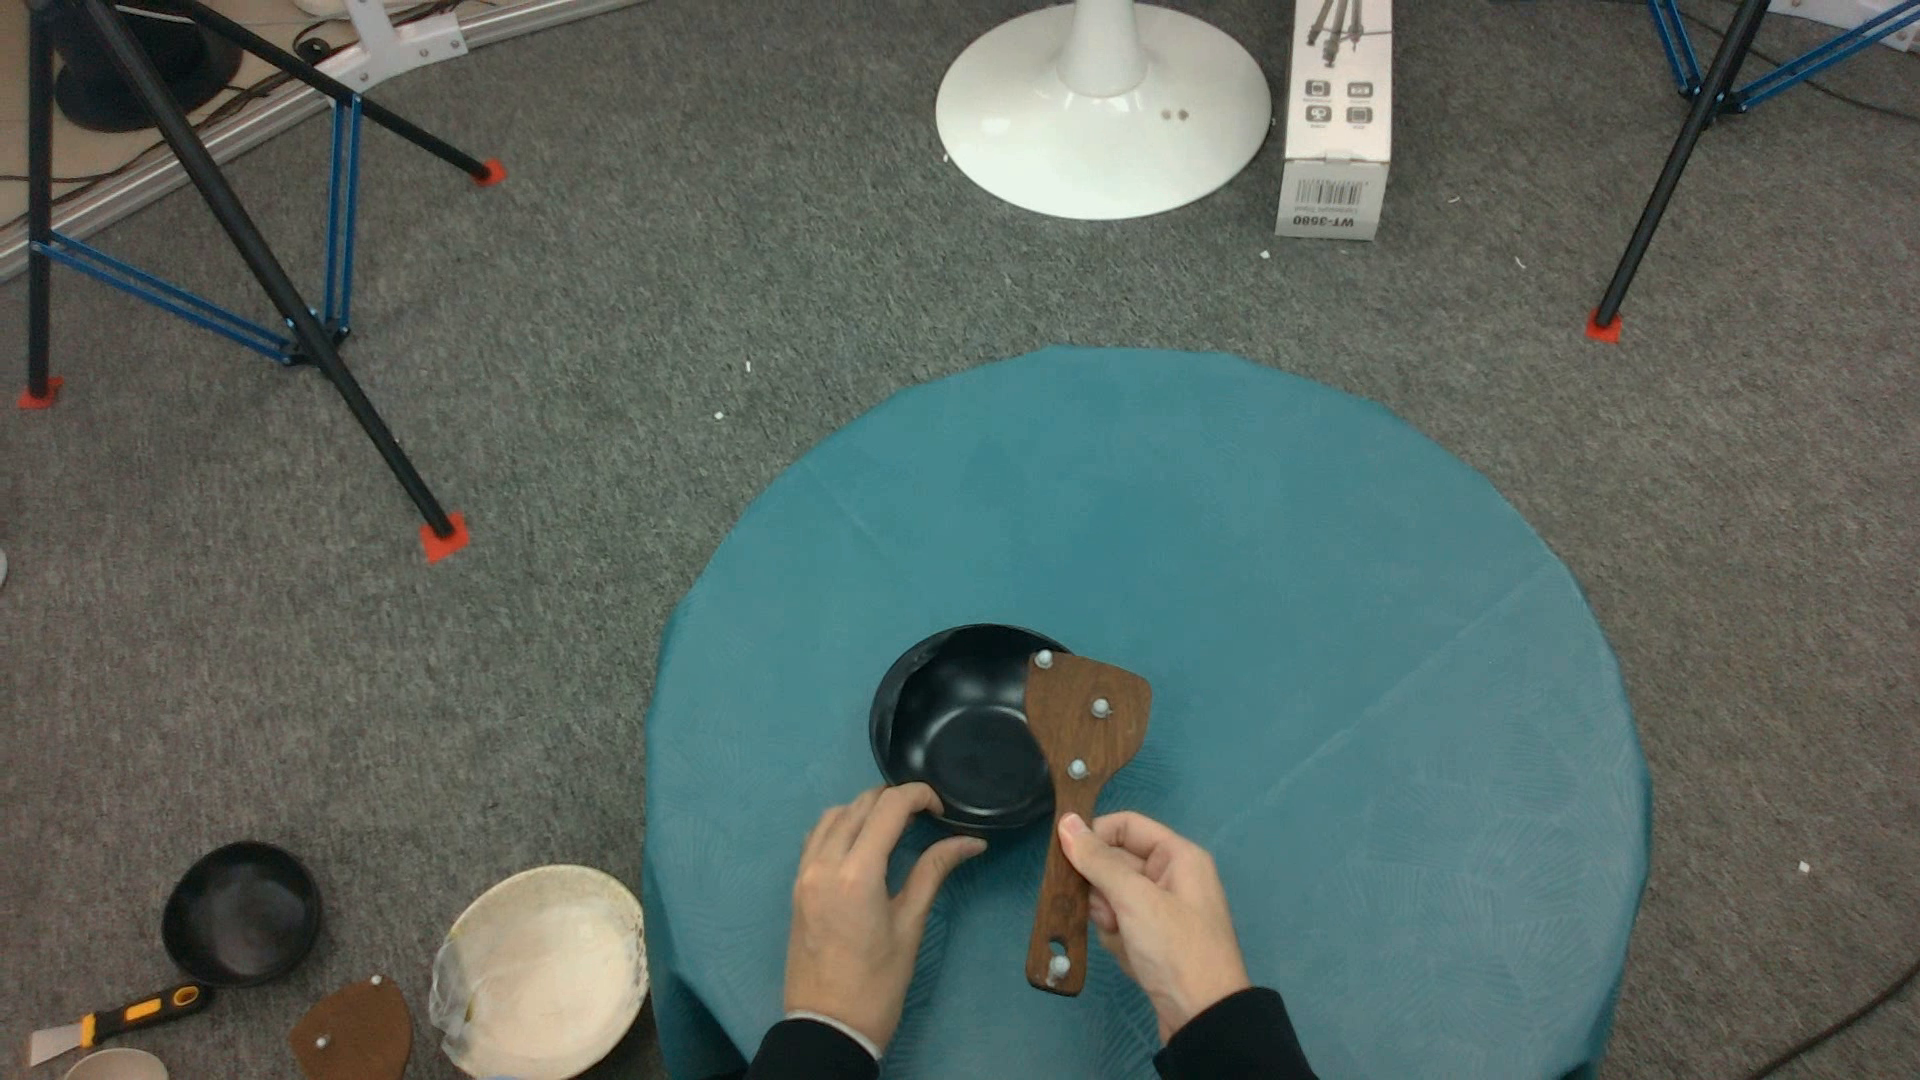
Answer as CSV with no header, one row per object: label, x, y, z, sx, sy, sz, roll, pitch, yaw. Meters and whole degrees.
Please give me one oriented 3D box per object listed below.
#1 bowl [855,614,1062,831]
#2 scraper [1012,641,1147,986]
bowl,0.008,0.113,0.805,0.140,0.049,0.140,2,51,-2
scraper,0.054,0.134,0.710,0.076,0.011,0.212,16,42,-2
